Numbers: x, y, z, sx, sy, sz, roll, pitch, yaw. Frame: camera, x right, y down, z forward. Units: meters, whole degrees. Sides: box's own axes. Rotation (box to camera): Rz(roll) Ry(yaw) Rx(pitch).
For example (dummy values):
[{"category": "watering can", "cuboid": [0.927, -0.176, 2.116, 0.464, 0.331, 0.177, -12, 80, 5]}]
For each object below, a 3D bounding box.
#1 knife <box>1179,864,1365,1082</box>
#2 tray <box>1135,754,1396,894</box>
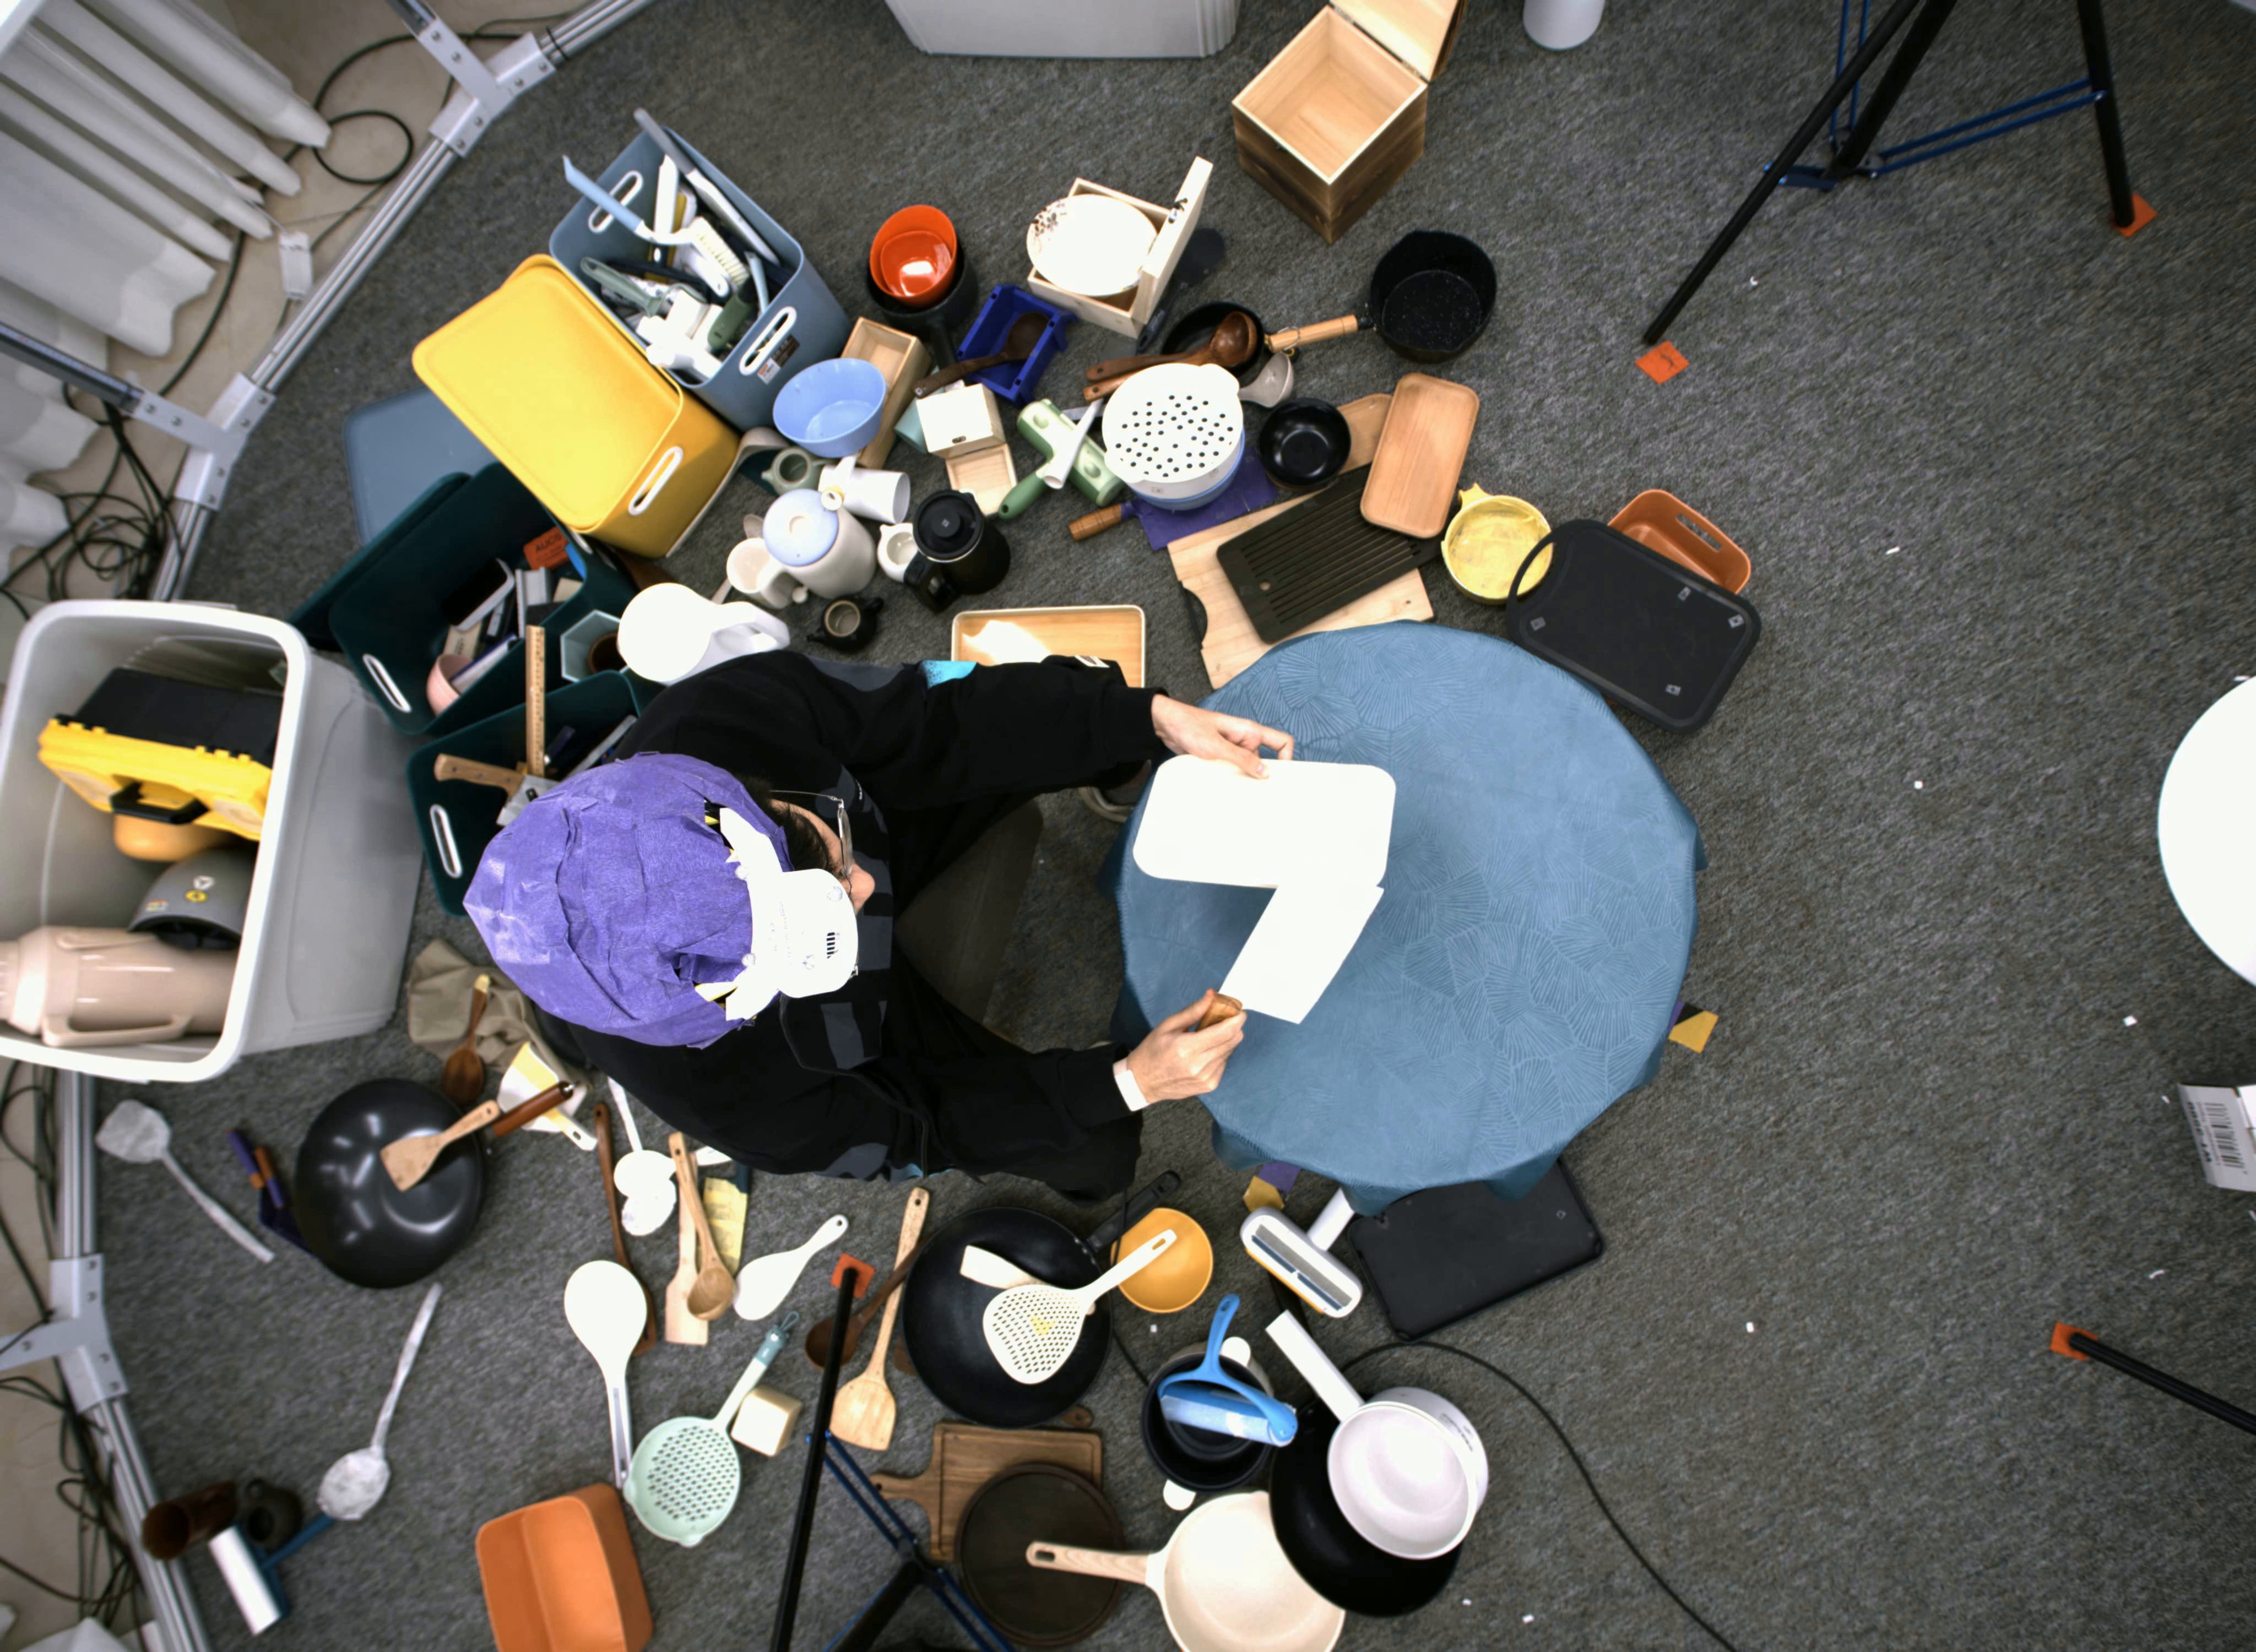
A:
[{"category": "knife", "cuboid": [0.136, 0.151, 1.318, 0.093, 0.020, 0.314, 16, 130, -9]}, {"category": "tray", "cuboid": [0.134, -0.003, 1.336, 0.240, 0.018, 0.166, 4, 48, 14]}]
